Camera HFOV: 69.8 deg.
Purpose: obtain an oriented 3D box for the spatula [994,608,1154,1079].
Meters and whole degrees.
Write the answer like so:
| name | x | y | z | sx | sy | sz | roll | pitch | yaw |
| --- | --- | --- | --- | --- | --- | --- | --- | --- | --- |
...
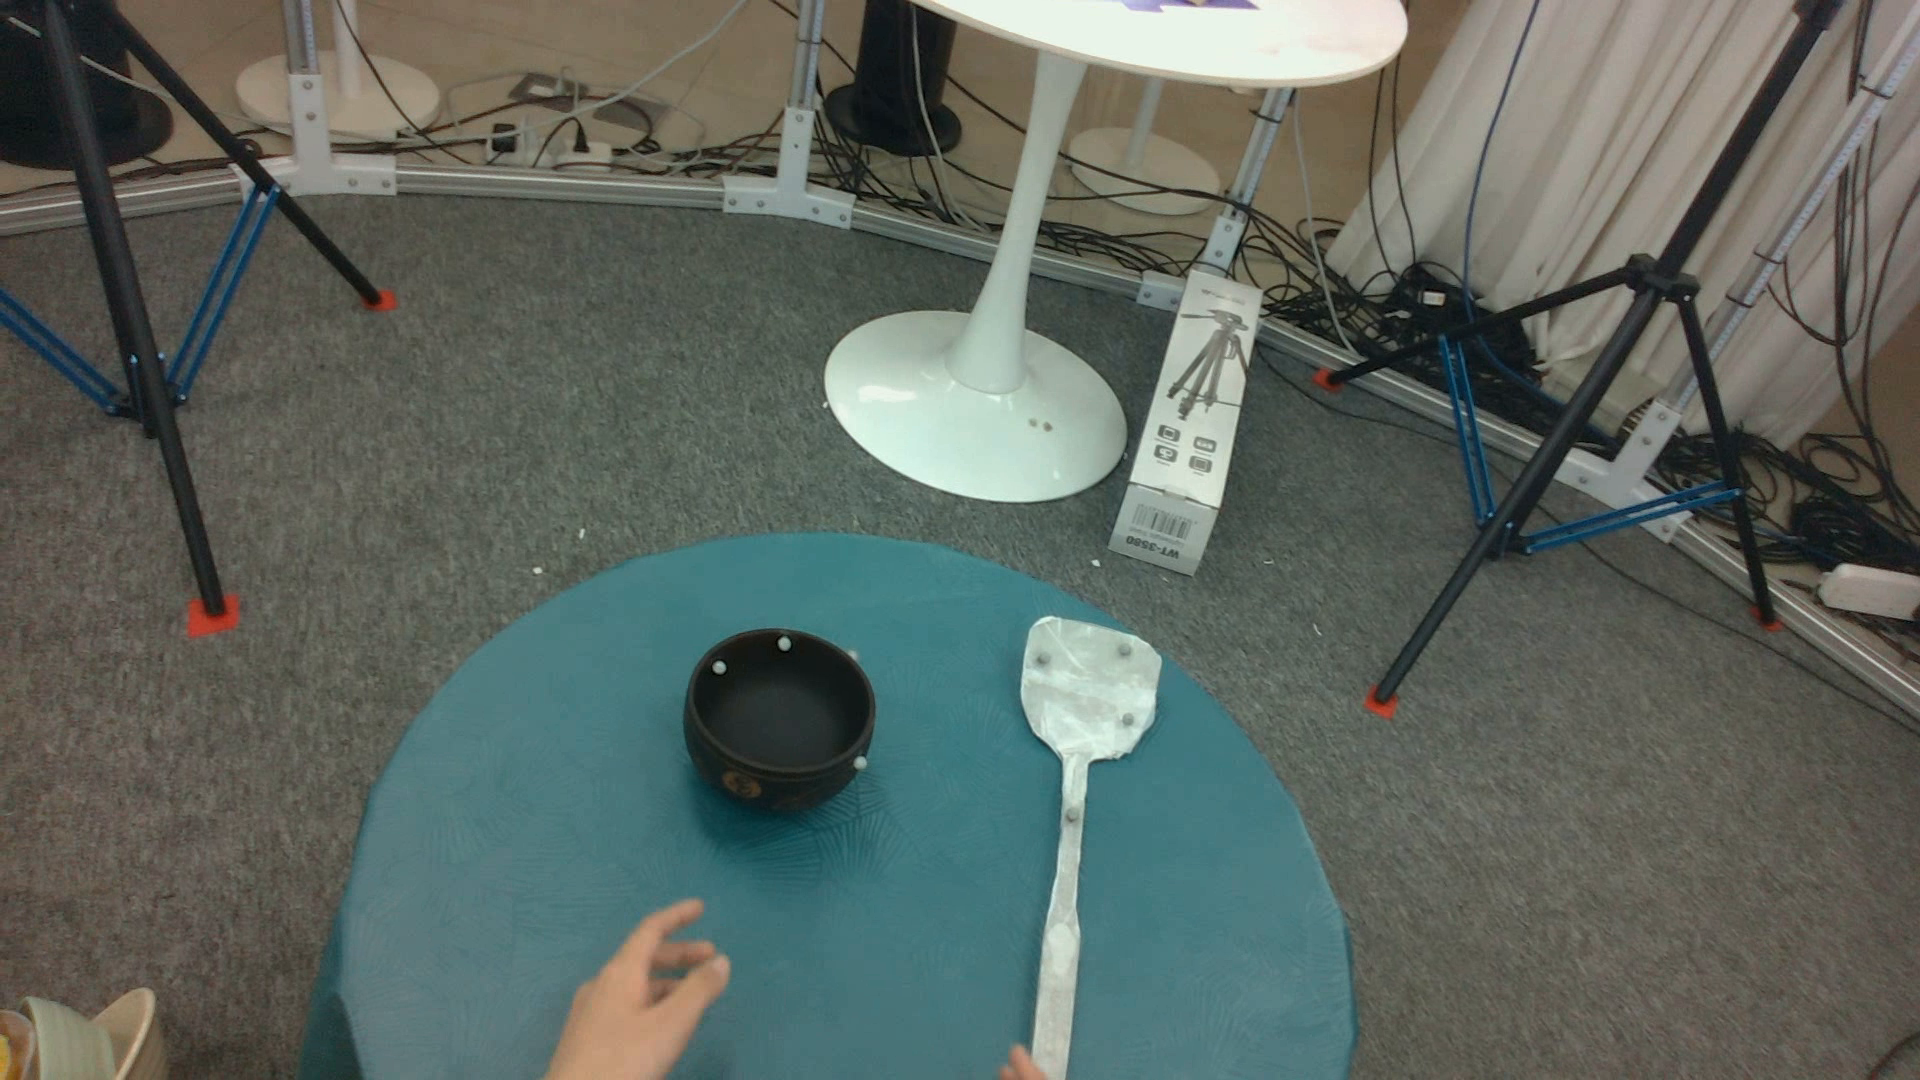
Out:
| name | x | y | z | sx | sy | sz | roll | pitch | yaw |
| --- | --- | --- | --- | --- | --- | --- | --- | --- | --- |
| spatula | 0.061 | 0.184 | 0.859 | 0.099 | 0.044 | 0.367 | 17 | 40 | -2 |

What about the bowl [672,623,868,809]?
| name | x | y | z | sx | sy | sz | roll | pitch | yaw |
| --- | --- | --- | --- | --- | --- | --- | --- | --- | --- |
| bowl | -0.119 | 0.116 | 0.851 | 0.118 | 0.069 | 0.118 | 8 | 42 | -7 |
